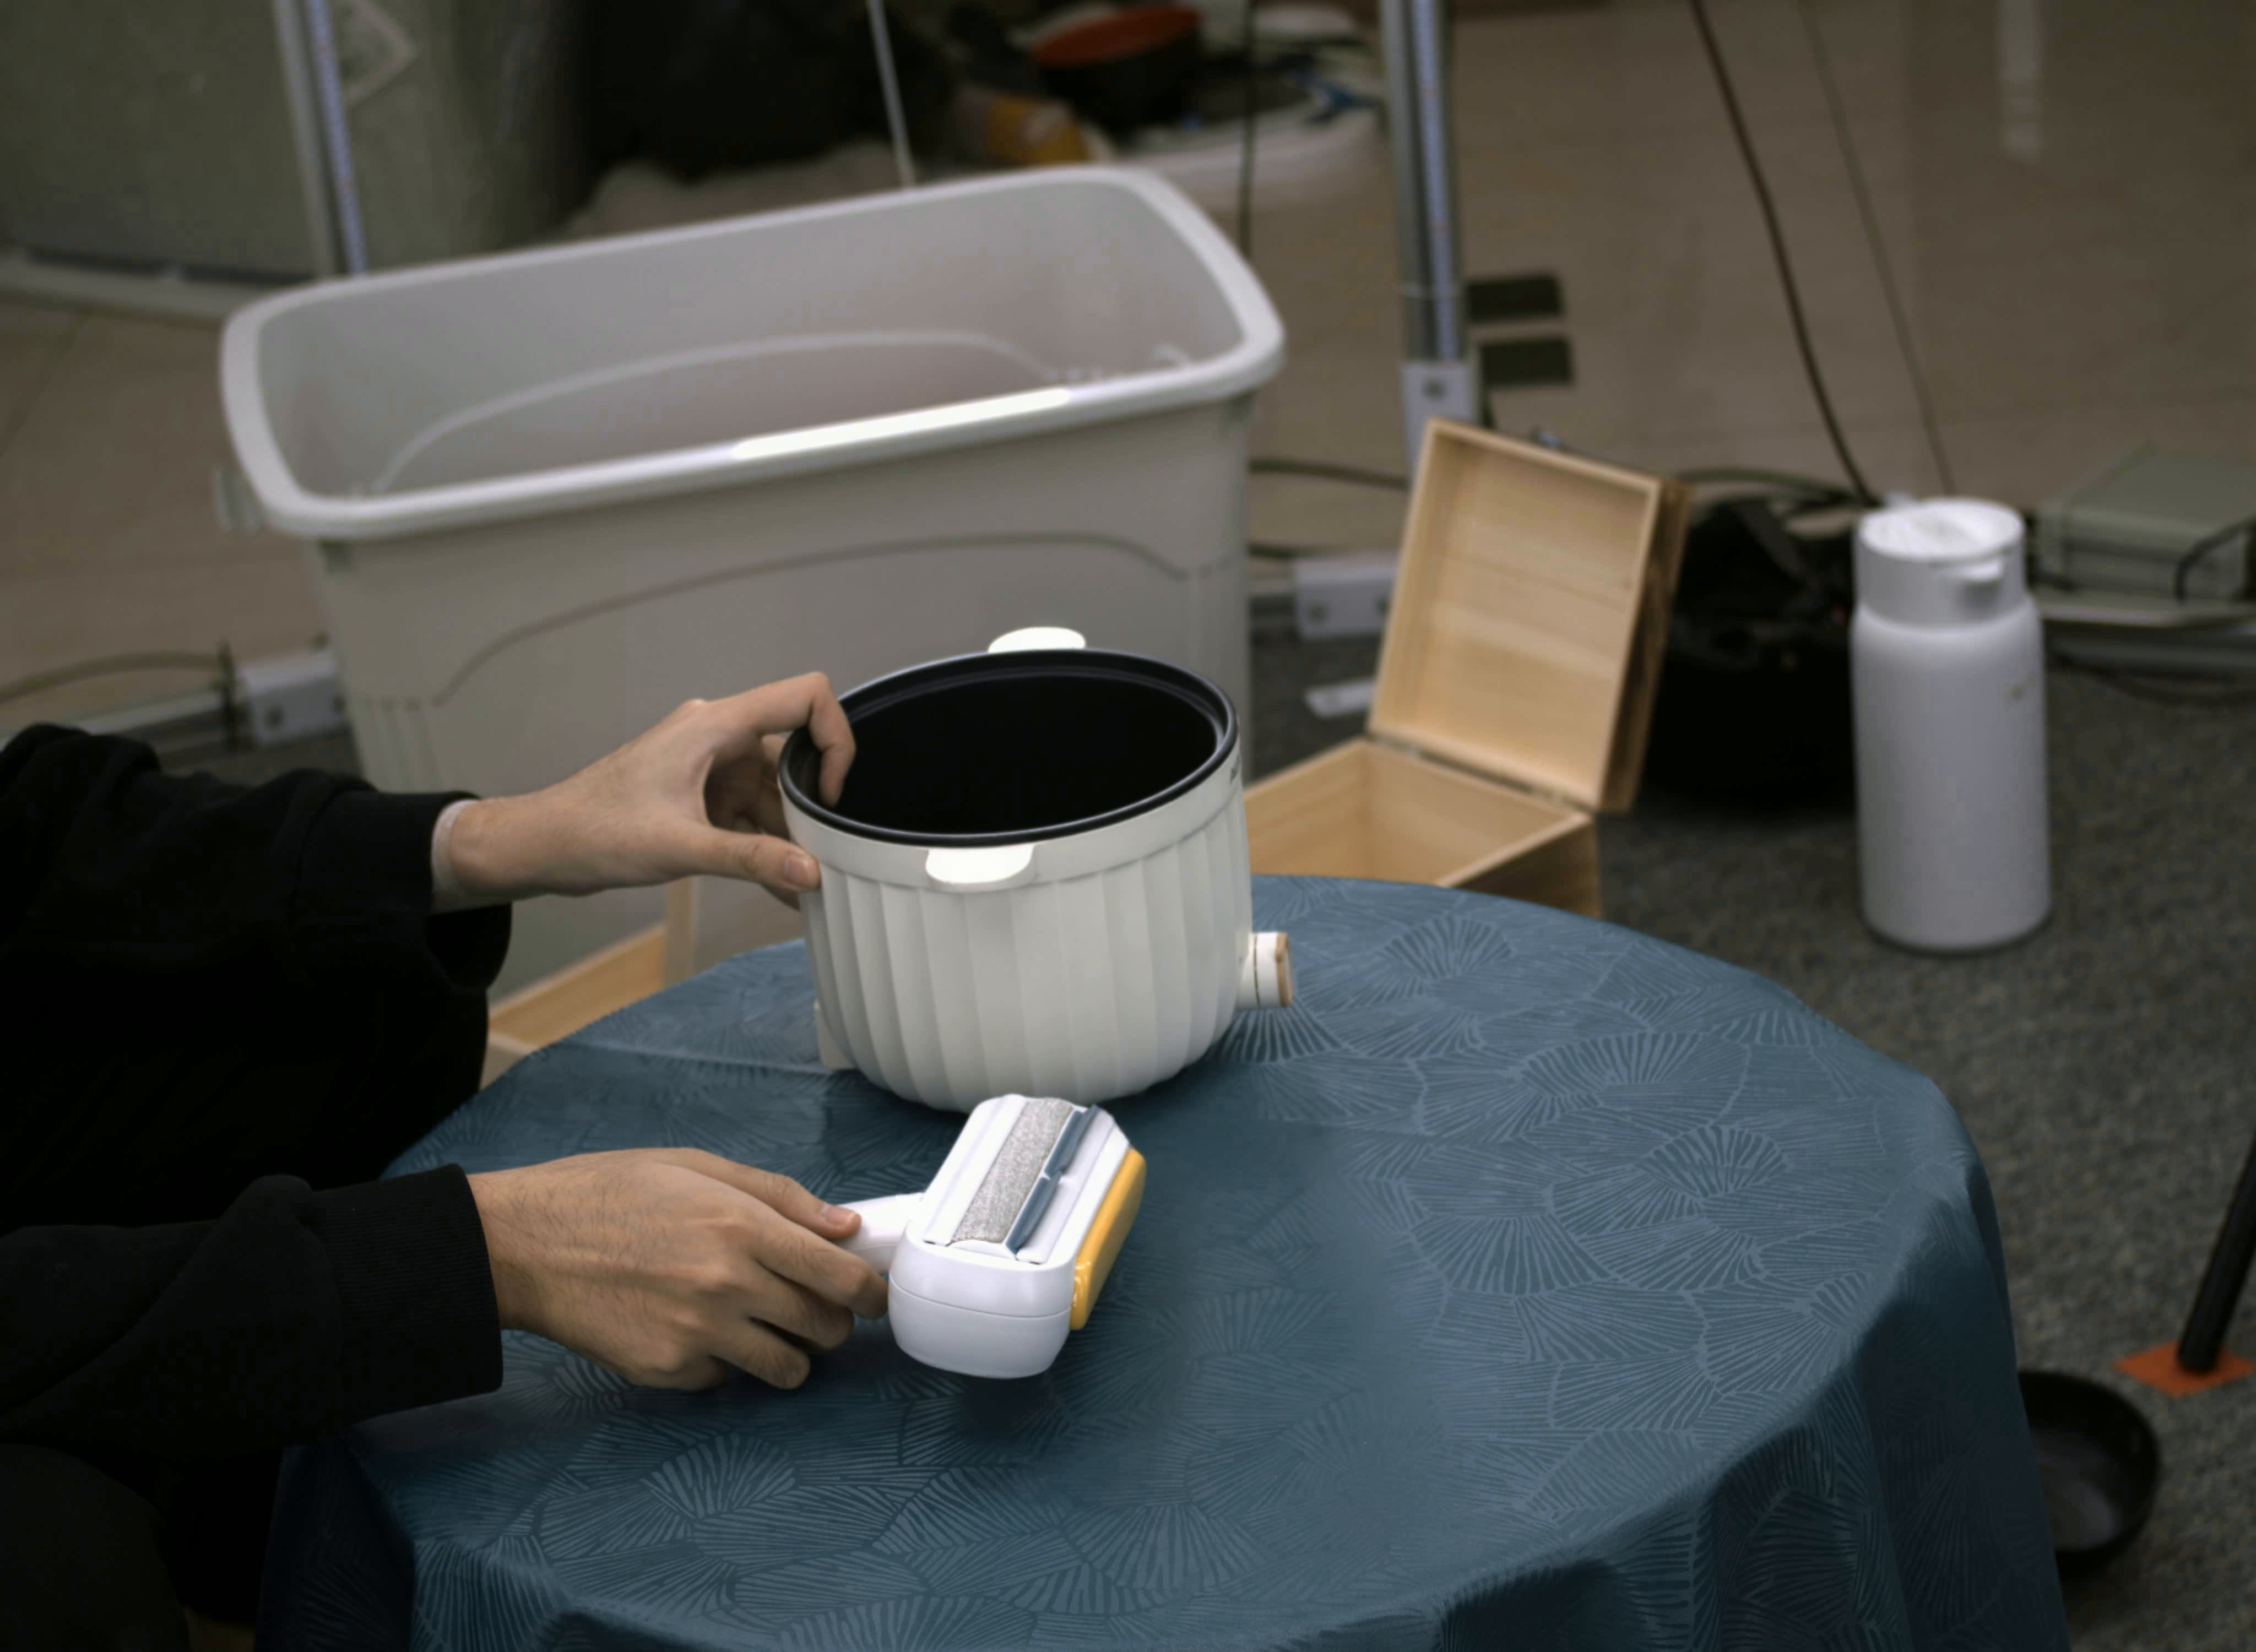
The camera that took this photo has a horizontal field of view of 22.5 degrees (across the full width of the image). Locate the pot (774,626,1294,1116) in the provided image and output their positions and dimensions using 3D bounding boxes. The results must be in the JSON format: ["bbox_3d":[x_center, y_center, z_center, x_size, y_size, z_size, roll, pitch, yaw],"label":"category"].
[{"bbox_3d":[-0.035,0.024,2.229,0.190,0.145,0.237,-6,26,8],"label":"pot"}]

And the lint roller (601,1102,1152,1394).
[{"bbox_3d":[-0.099,0.152,2.048,0.192,0.075,0.190,3,20,12],"label":"lint roller"}]
